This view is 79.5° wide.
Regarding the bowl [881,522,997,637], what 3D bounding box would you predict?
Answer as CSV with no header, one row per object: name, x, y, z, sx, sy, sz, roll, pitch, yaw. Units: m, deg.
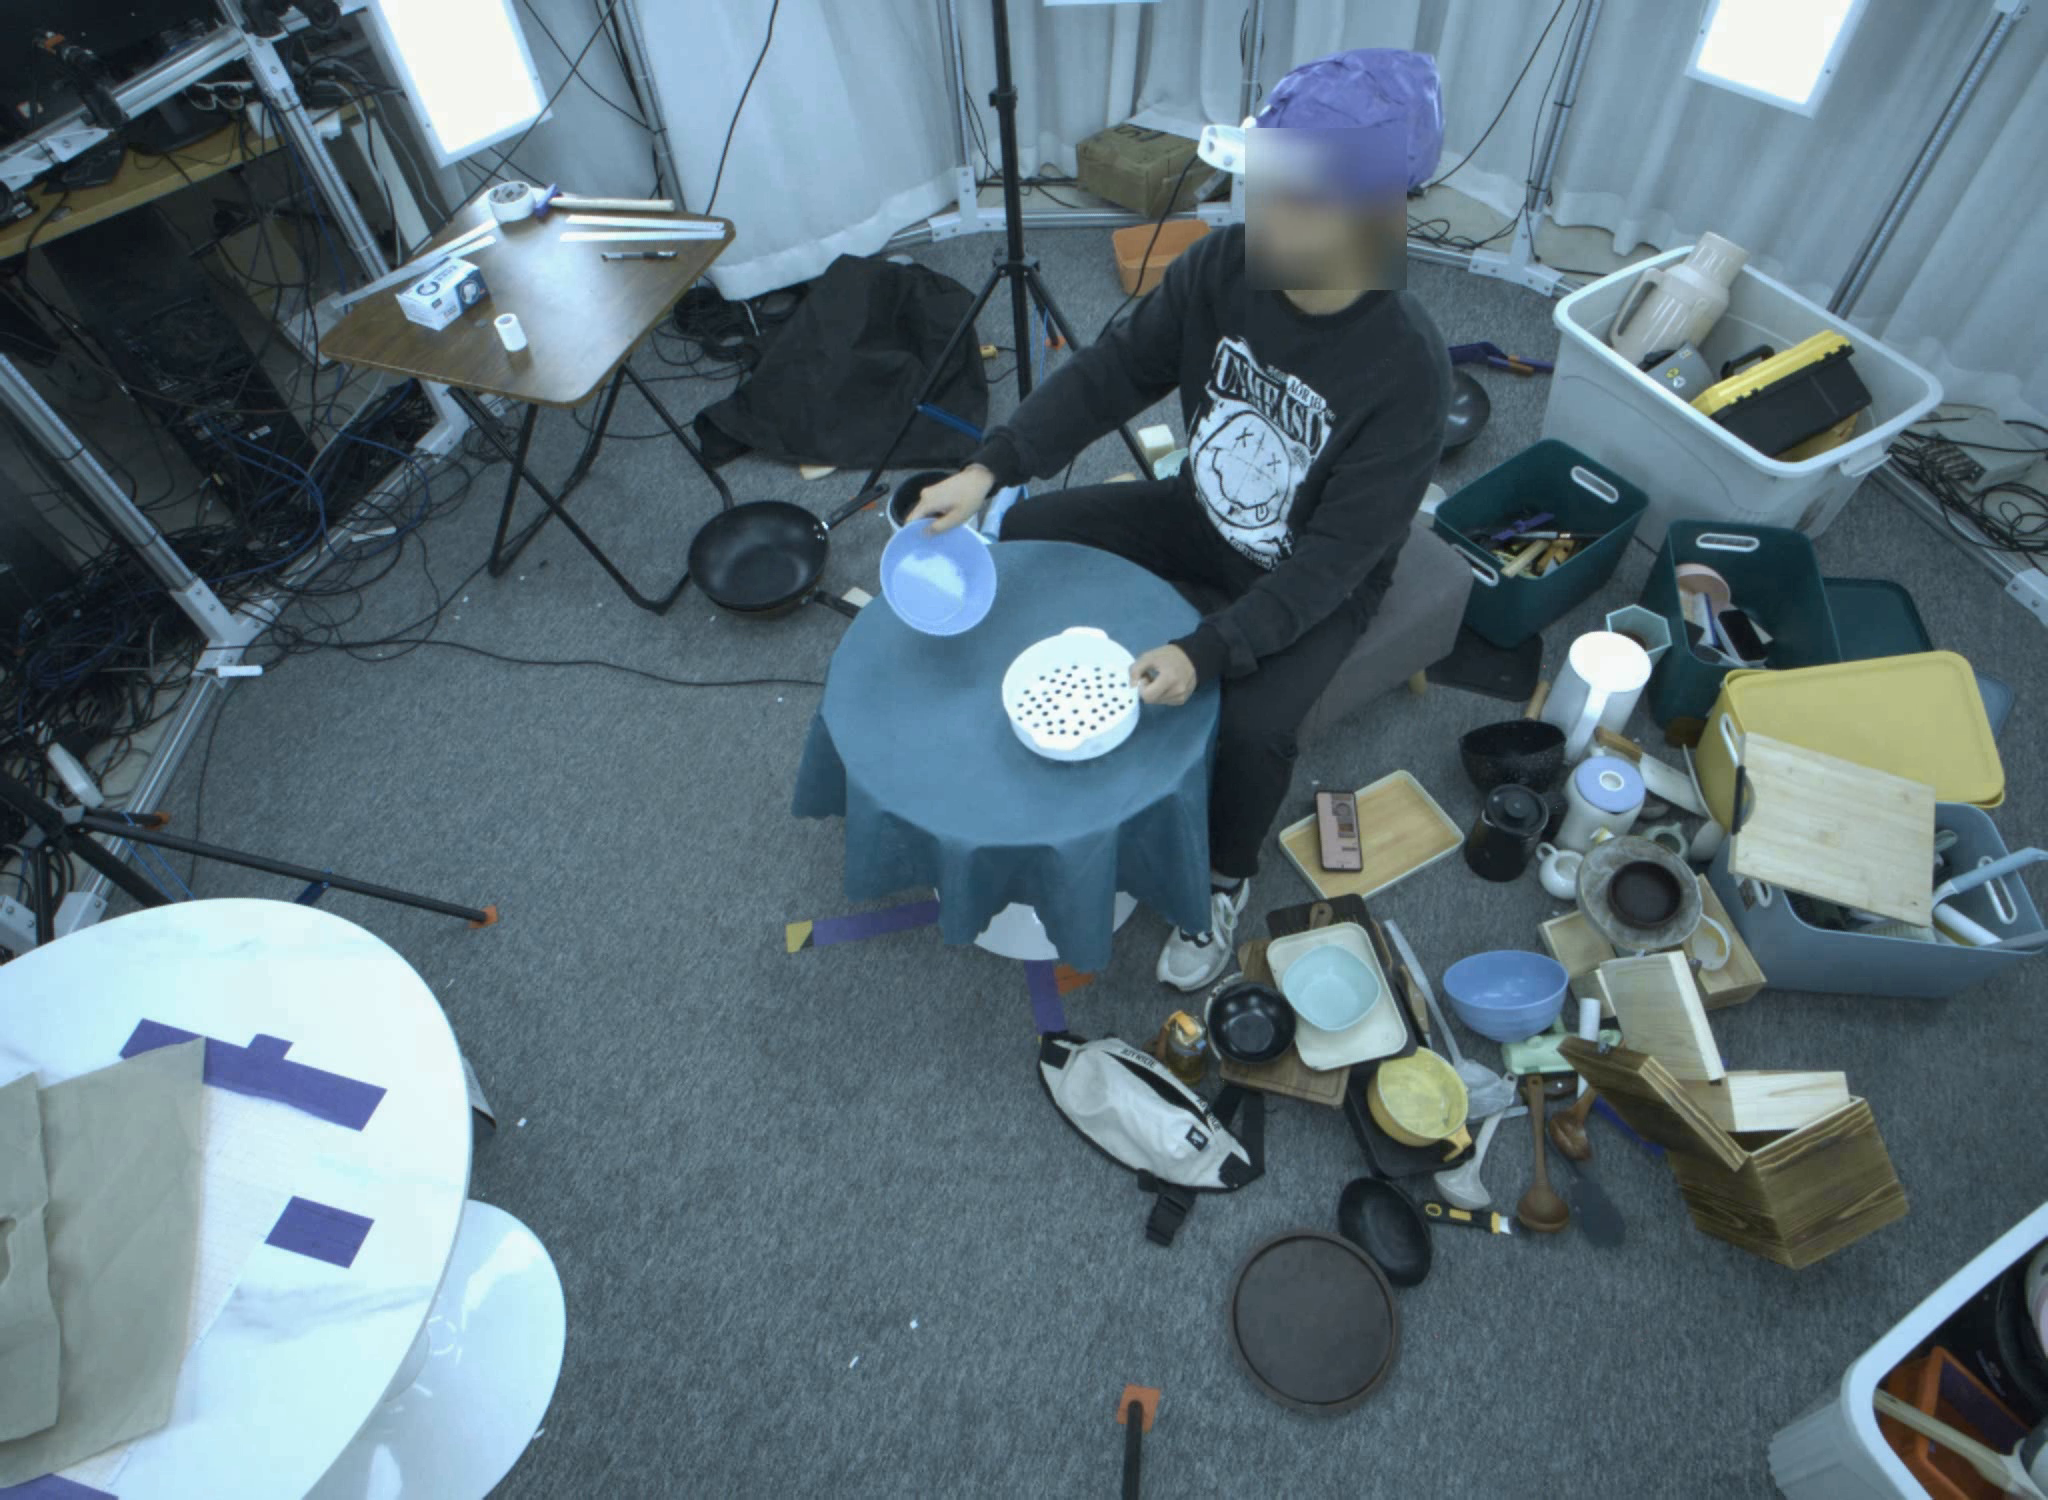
bowl,-0.134,-0.247,1.820,0.179,0.069,0.175,3,82,-20

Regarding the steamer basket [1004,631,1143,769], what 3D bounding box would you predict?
steamer basket,0.074,-0.067,1.795,0.200,0.070,0.229,6,57,11
